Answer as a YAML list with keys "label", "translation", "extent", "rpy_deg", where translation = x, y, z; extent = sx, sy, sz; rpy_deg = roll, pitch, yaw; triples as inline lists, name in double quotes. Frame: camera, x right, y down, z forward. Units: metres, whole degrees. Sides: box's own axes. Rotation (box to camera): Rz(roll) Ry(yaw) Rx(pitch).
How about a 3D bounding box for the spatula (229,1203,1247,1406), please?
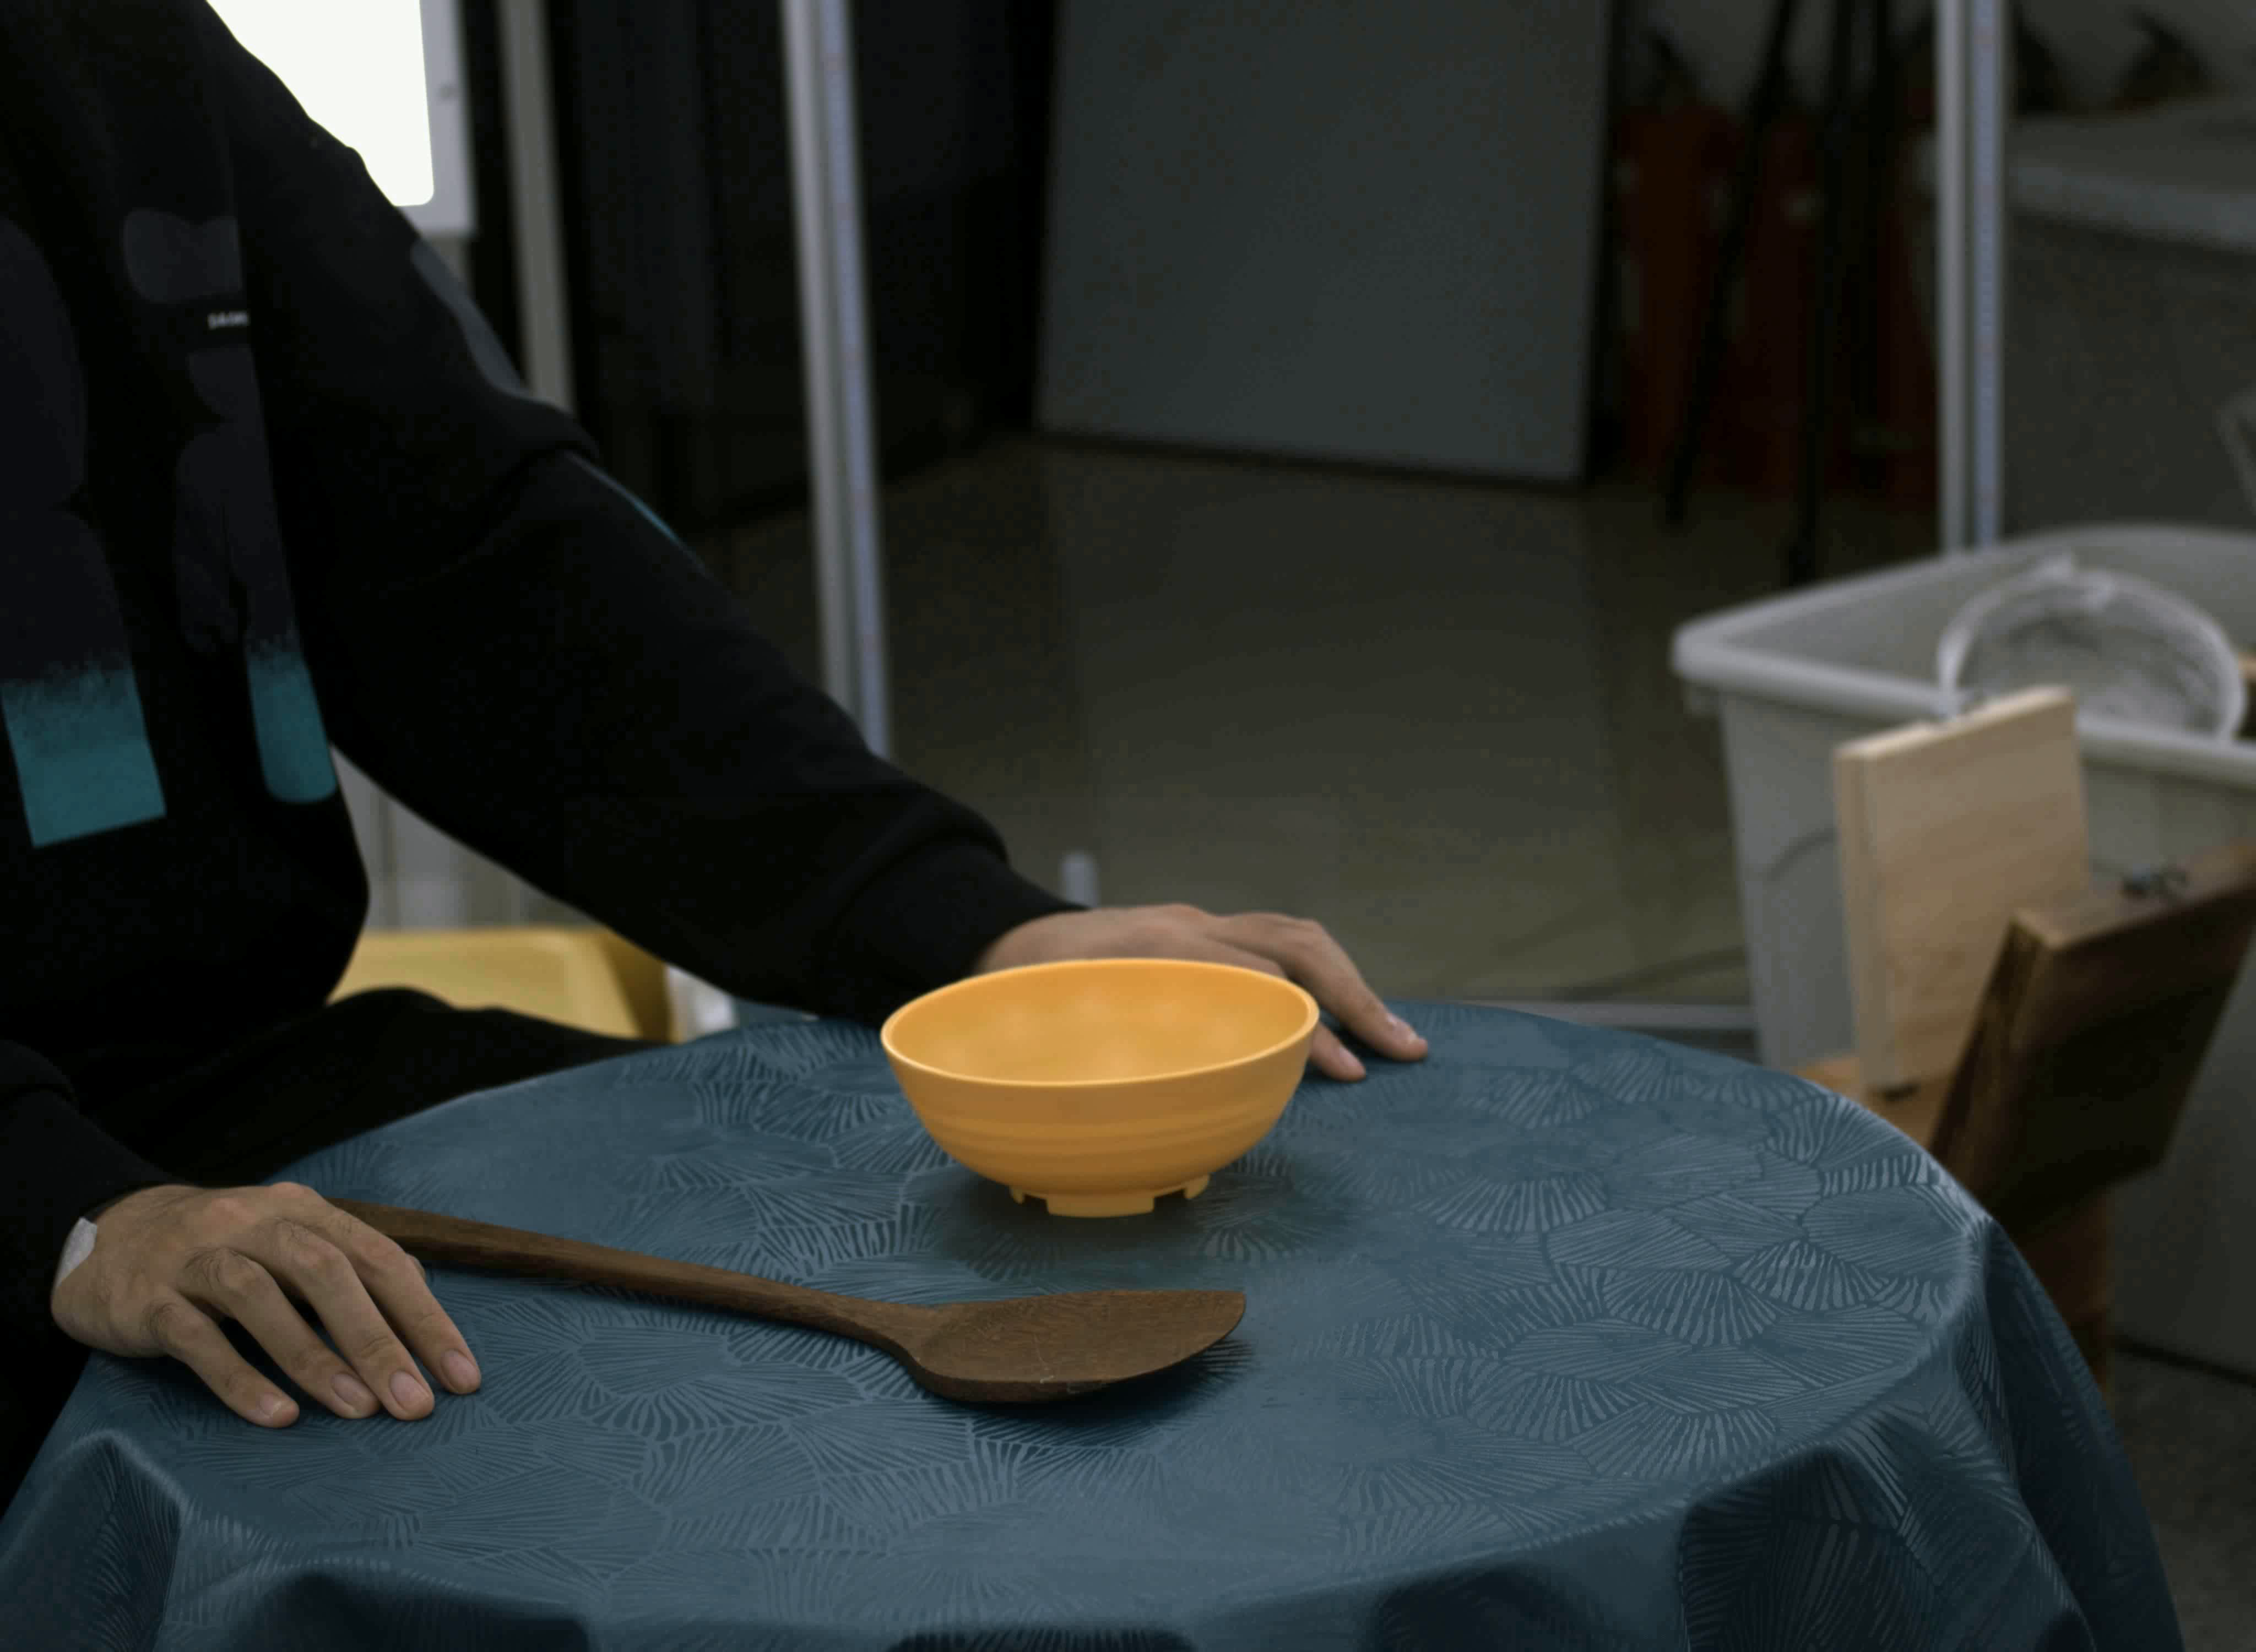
- label: "spatula"
  translation: [-0.137, 0.145, 1.689]
  extent: [0.388, 0.016, 0.094]
  rpy_deg: [5, 16, 34]

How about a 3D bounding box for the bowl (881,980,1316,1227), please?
- label: "bowl"
  translation: [-0.009, 0.094, 1.769]
  extent: [0.143, 0.061, 0.145]
  rpy_deg: [-3, 11, 0]
